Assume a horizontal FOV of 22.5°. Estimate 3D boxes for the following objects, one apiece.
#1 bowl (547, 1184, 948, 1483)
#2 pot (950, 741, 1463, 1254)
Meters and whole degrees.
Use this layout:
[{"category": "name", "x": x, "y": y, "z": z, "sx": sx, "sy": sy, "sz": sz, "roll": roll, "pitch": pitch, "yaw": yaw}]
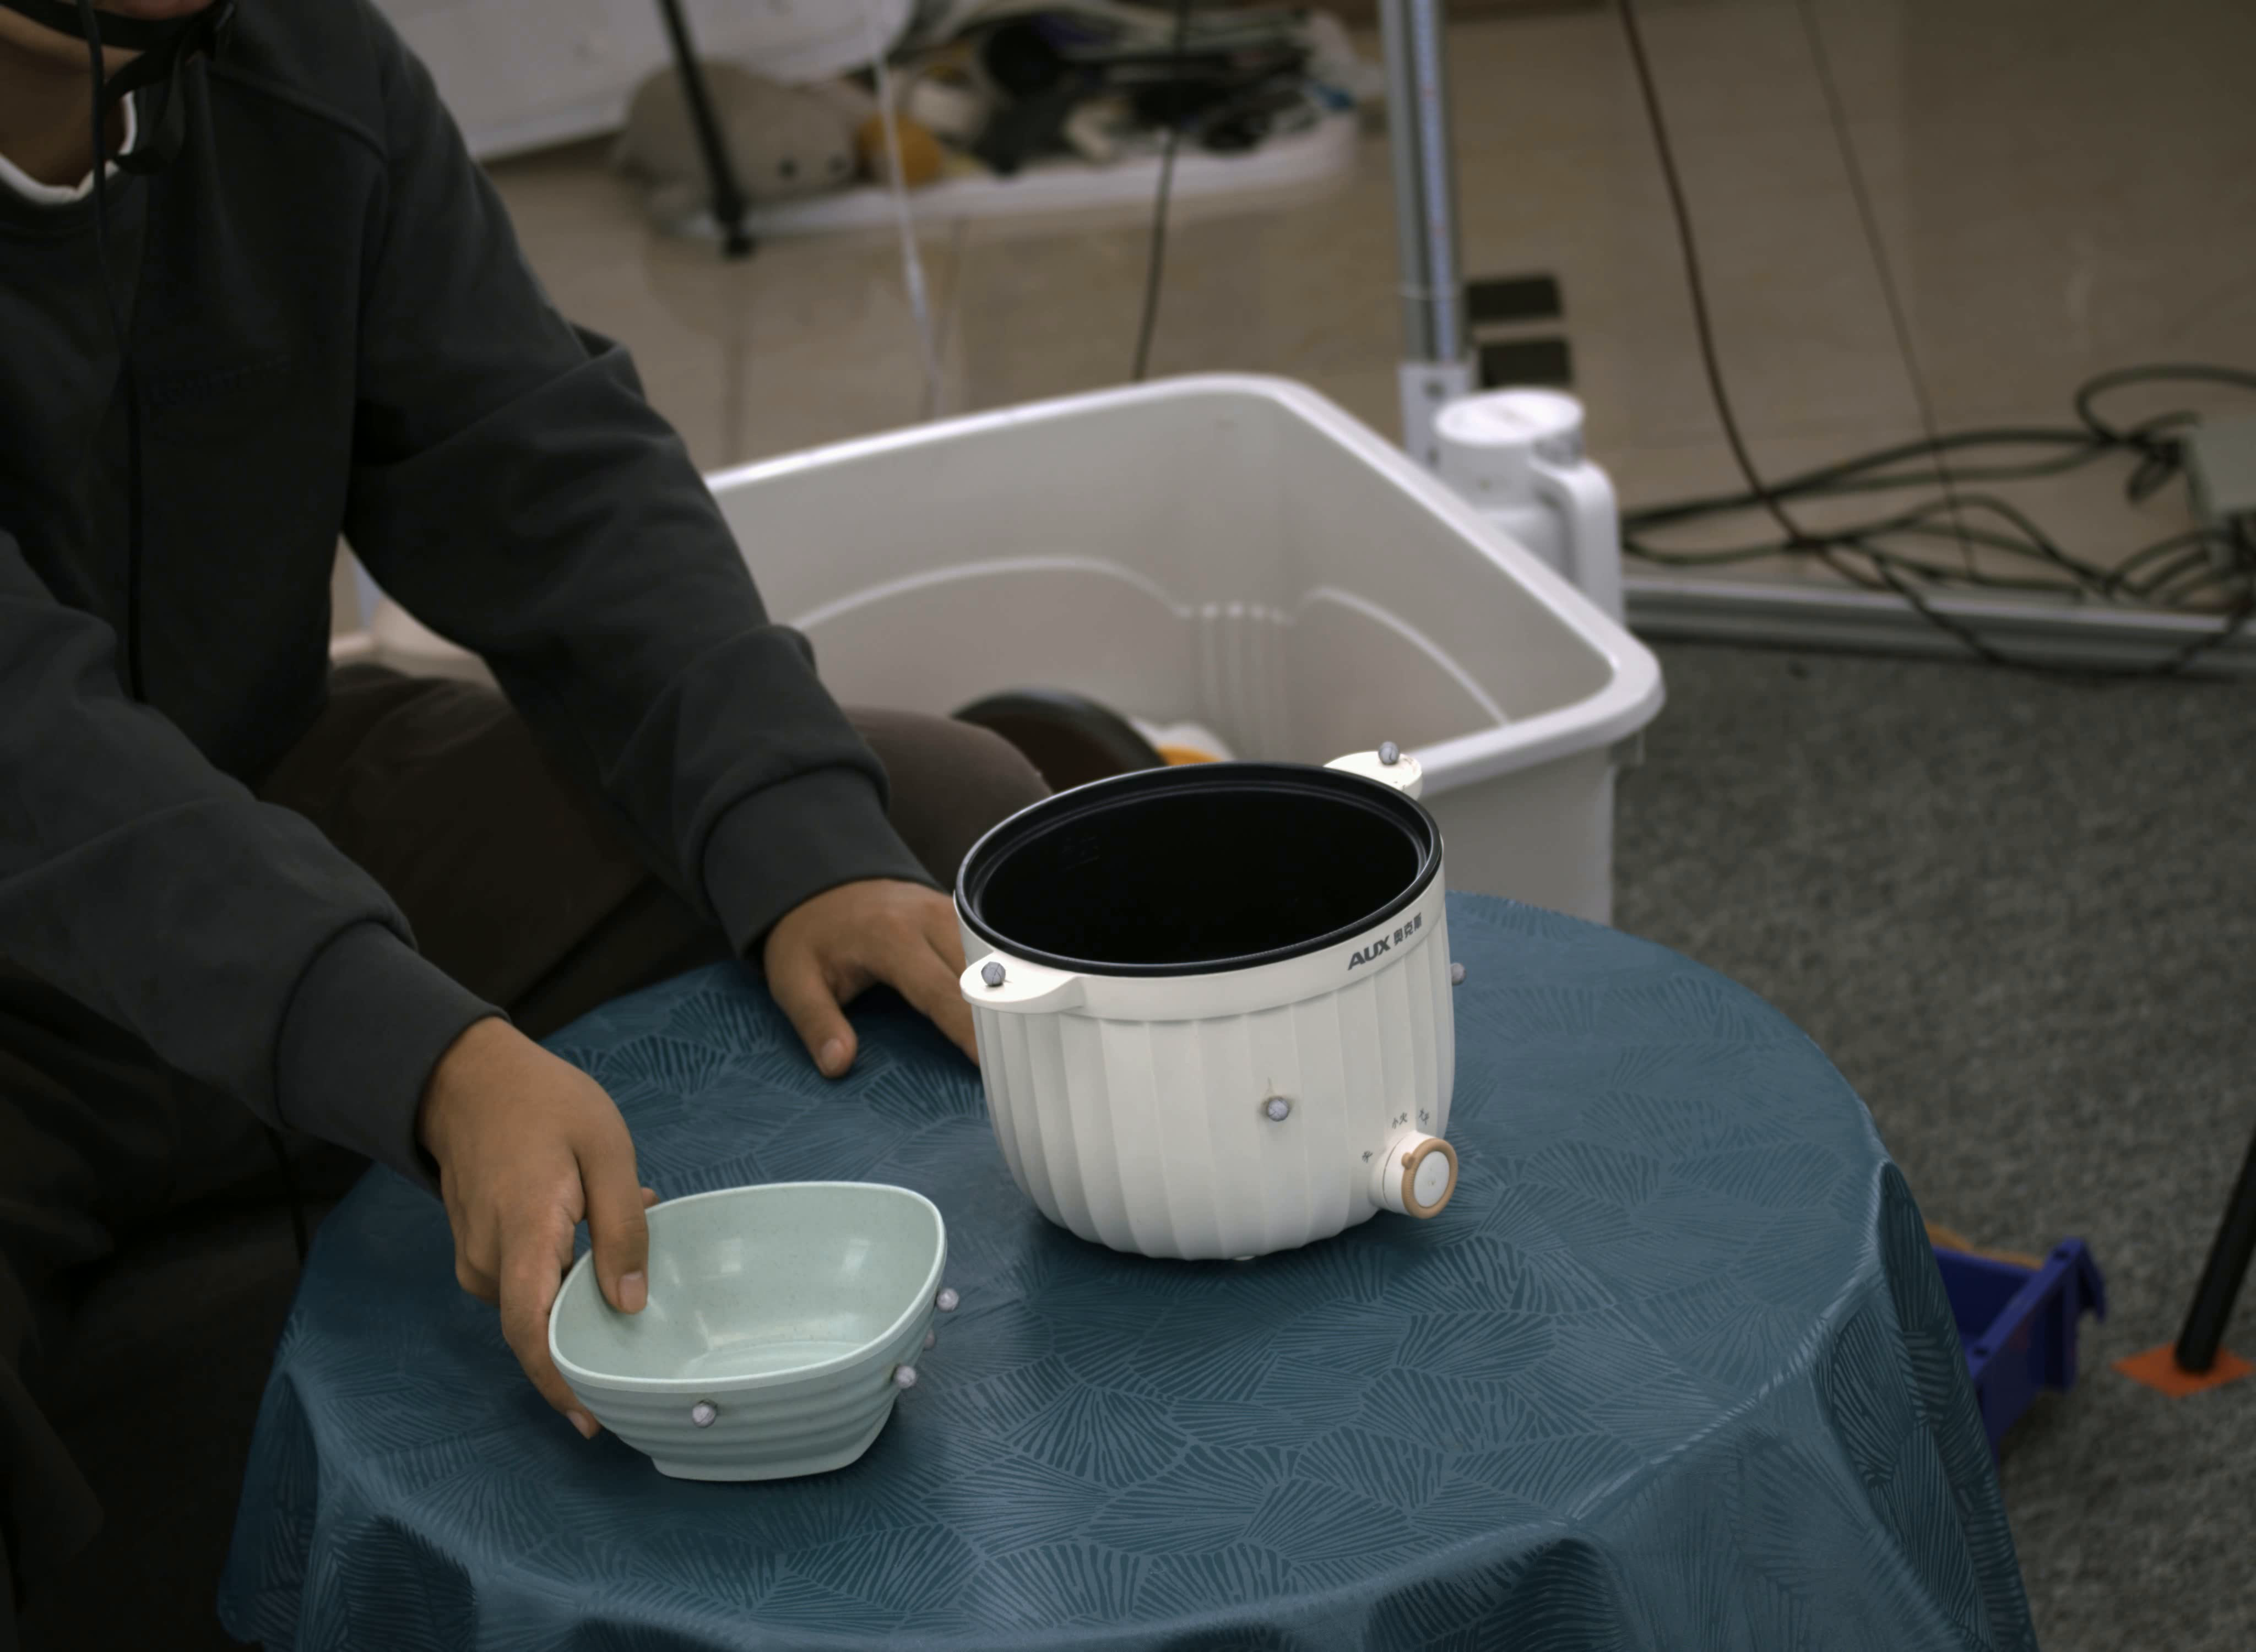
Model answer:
[{"category": "bowl", "x": -0.130, "y": 0.185, "z": 2.006, "sx": 0.151, "sy": 0.059, "sz": 0.149, "roll": -6, "pitch": 26, "yaw": 3}, {"category": "pot", "x": 0.037, "y": 0.071, "z": 2.115, "sx": 0.189, "sy": 0.145, "sz": 0.238, "roll": 12, "pitch": 32, "yaw": 40}]
